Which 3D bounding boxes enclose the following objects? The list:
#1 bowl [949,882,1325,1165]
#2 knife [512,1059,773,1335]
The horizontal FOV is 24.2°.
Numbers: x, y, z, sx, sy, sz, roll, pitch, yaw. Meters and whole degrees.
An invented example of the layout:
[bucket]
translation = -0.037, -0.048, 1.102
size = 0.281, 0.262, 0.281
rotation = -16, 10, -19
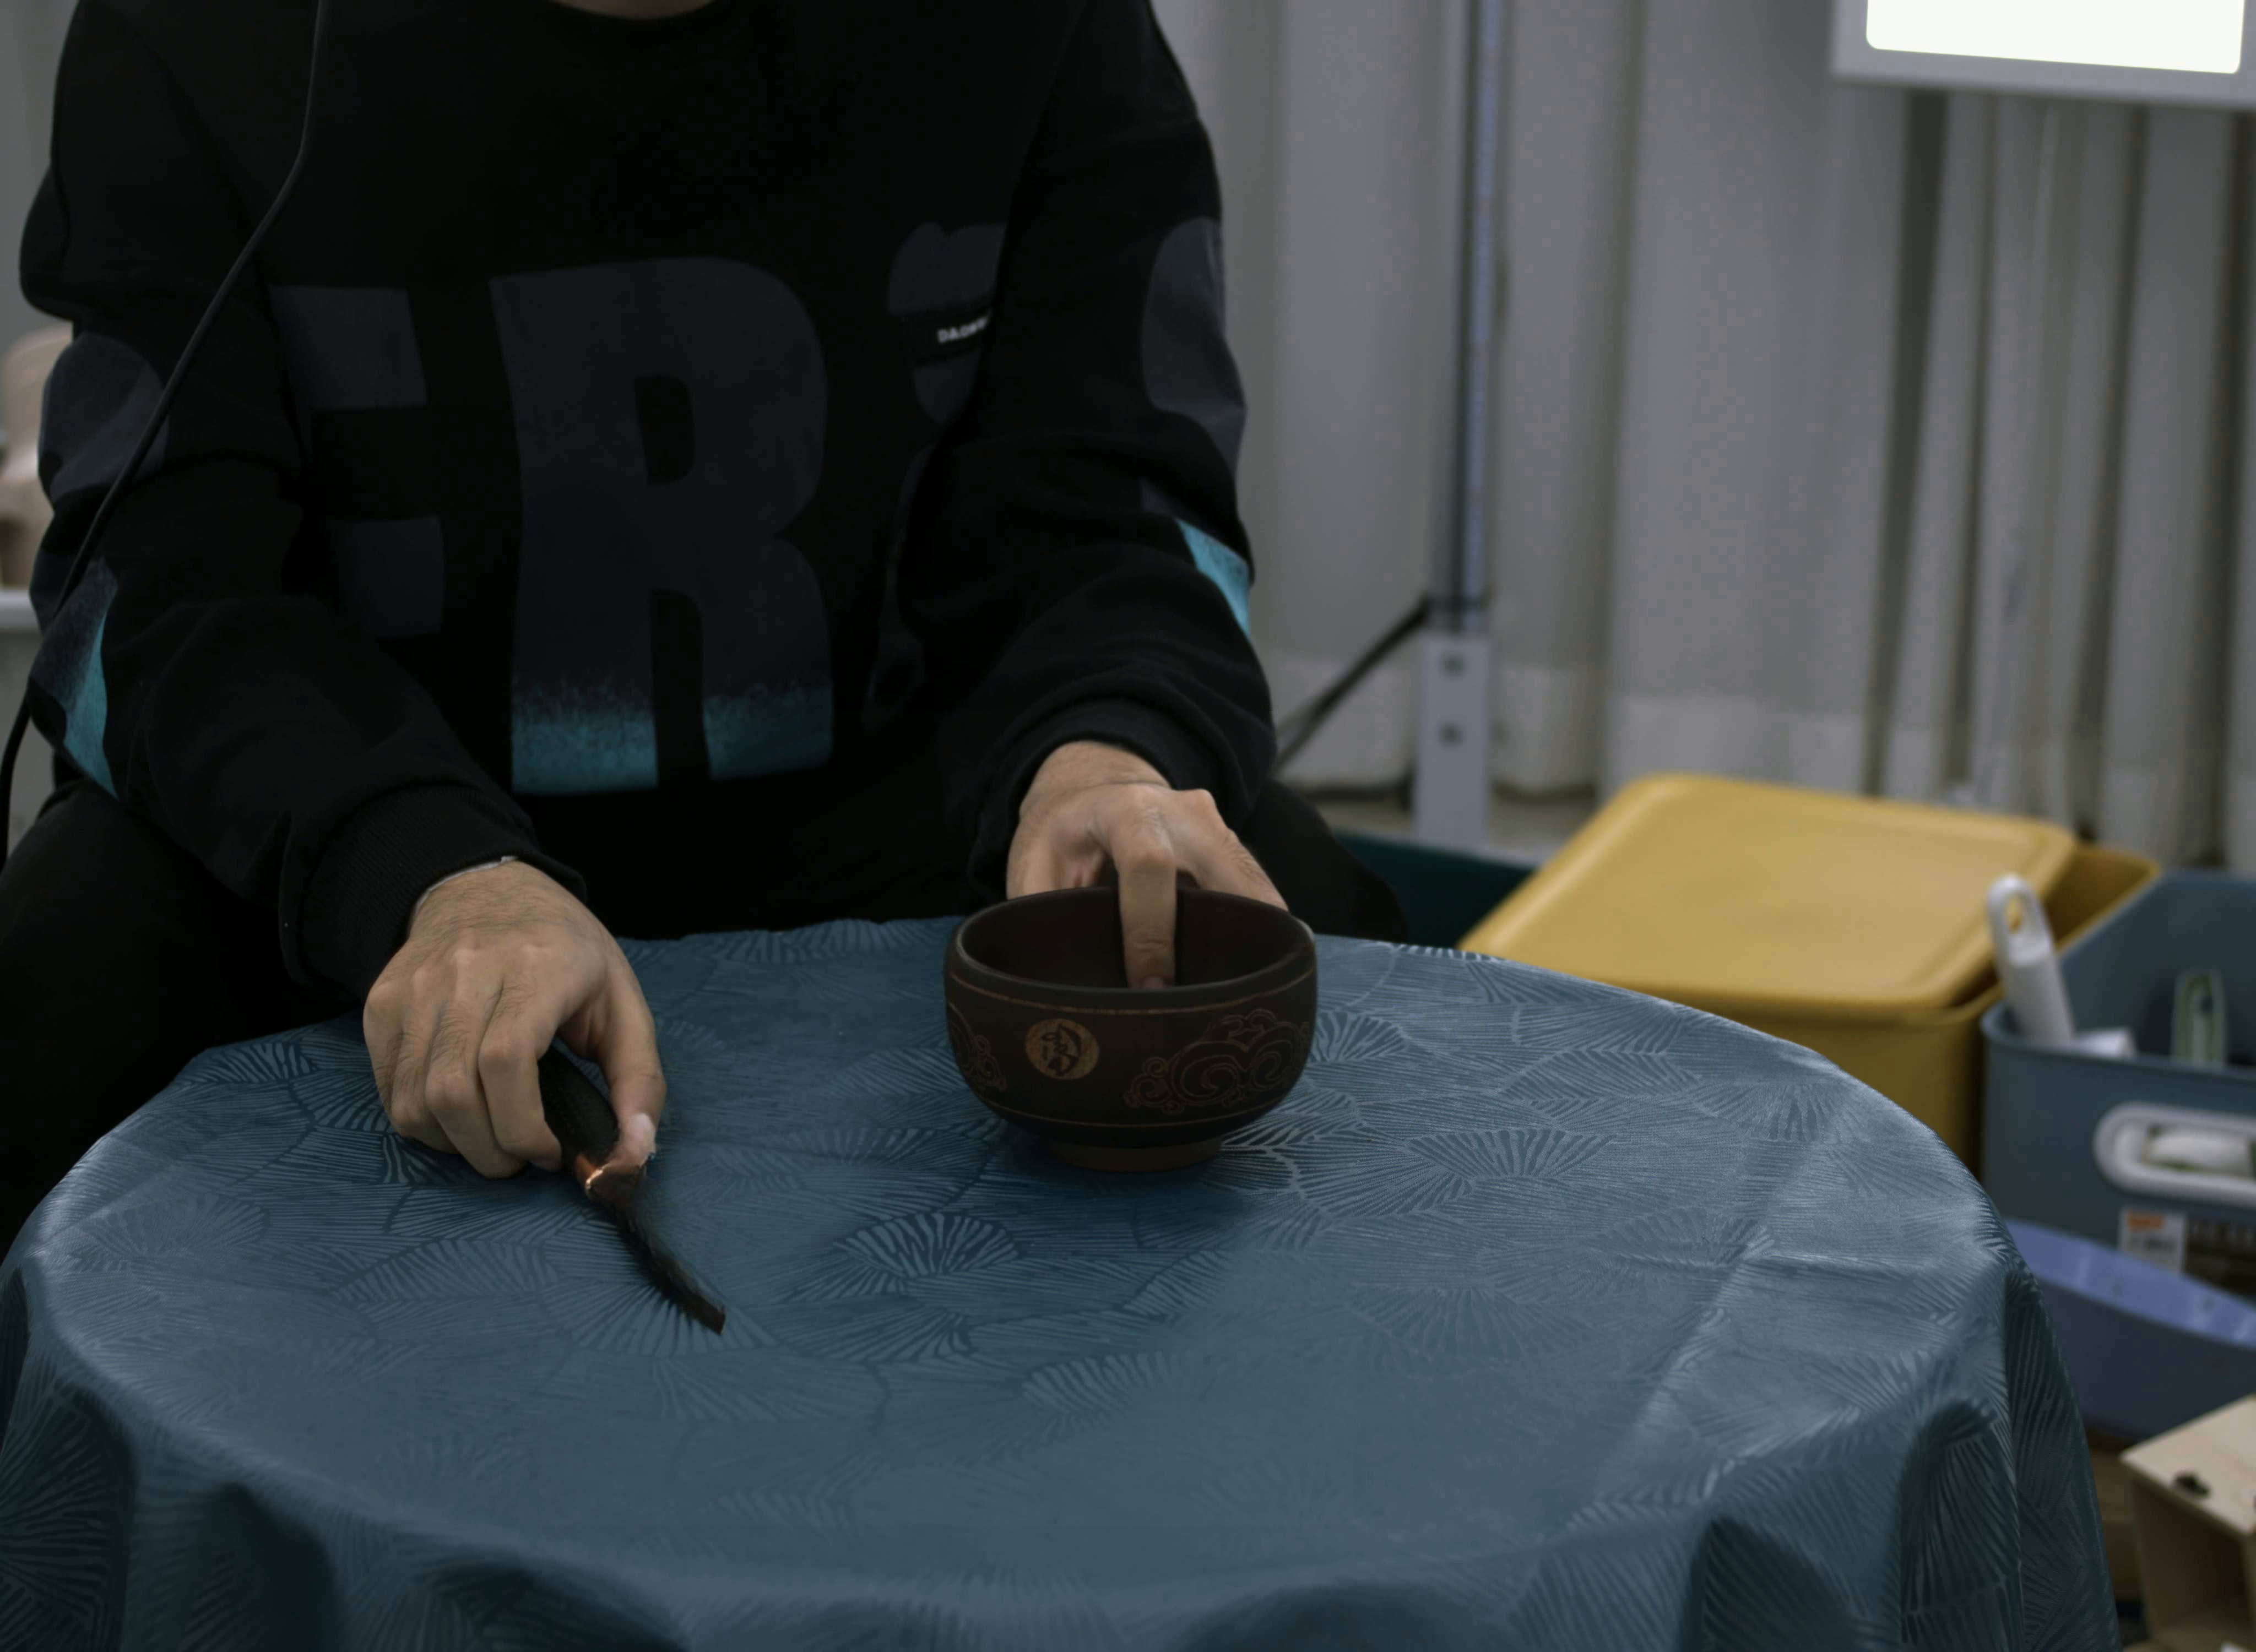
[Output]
[bowl]
translation = 0.002, 0.065, 1.651
size = 0.117, 0.070, 0.117
rotation = 2, 14, 0
[knife]
translation = -0.150, 0.112, 1.598
size = 0.026, 0.017, 0.223
rotation = 2, 16, -23
